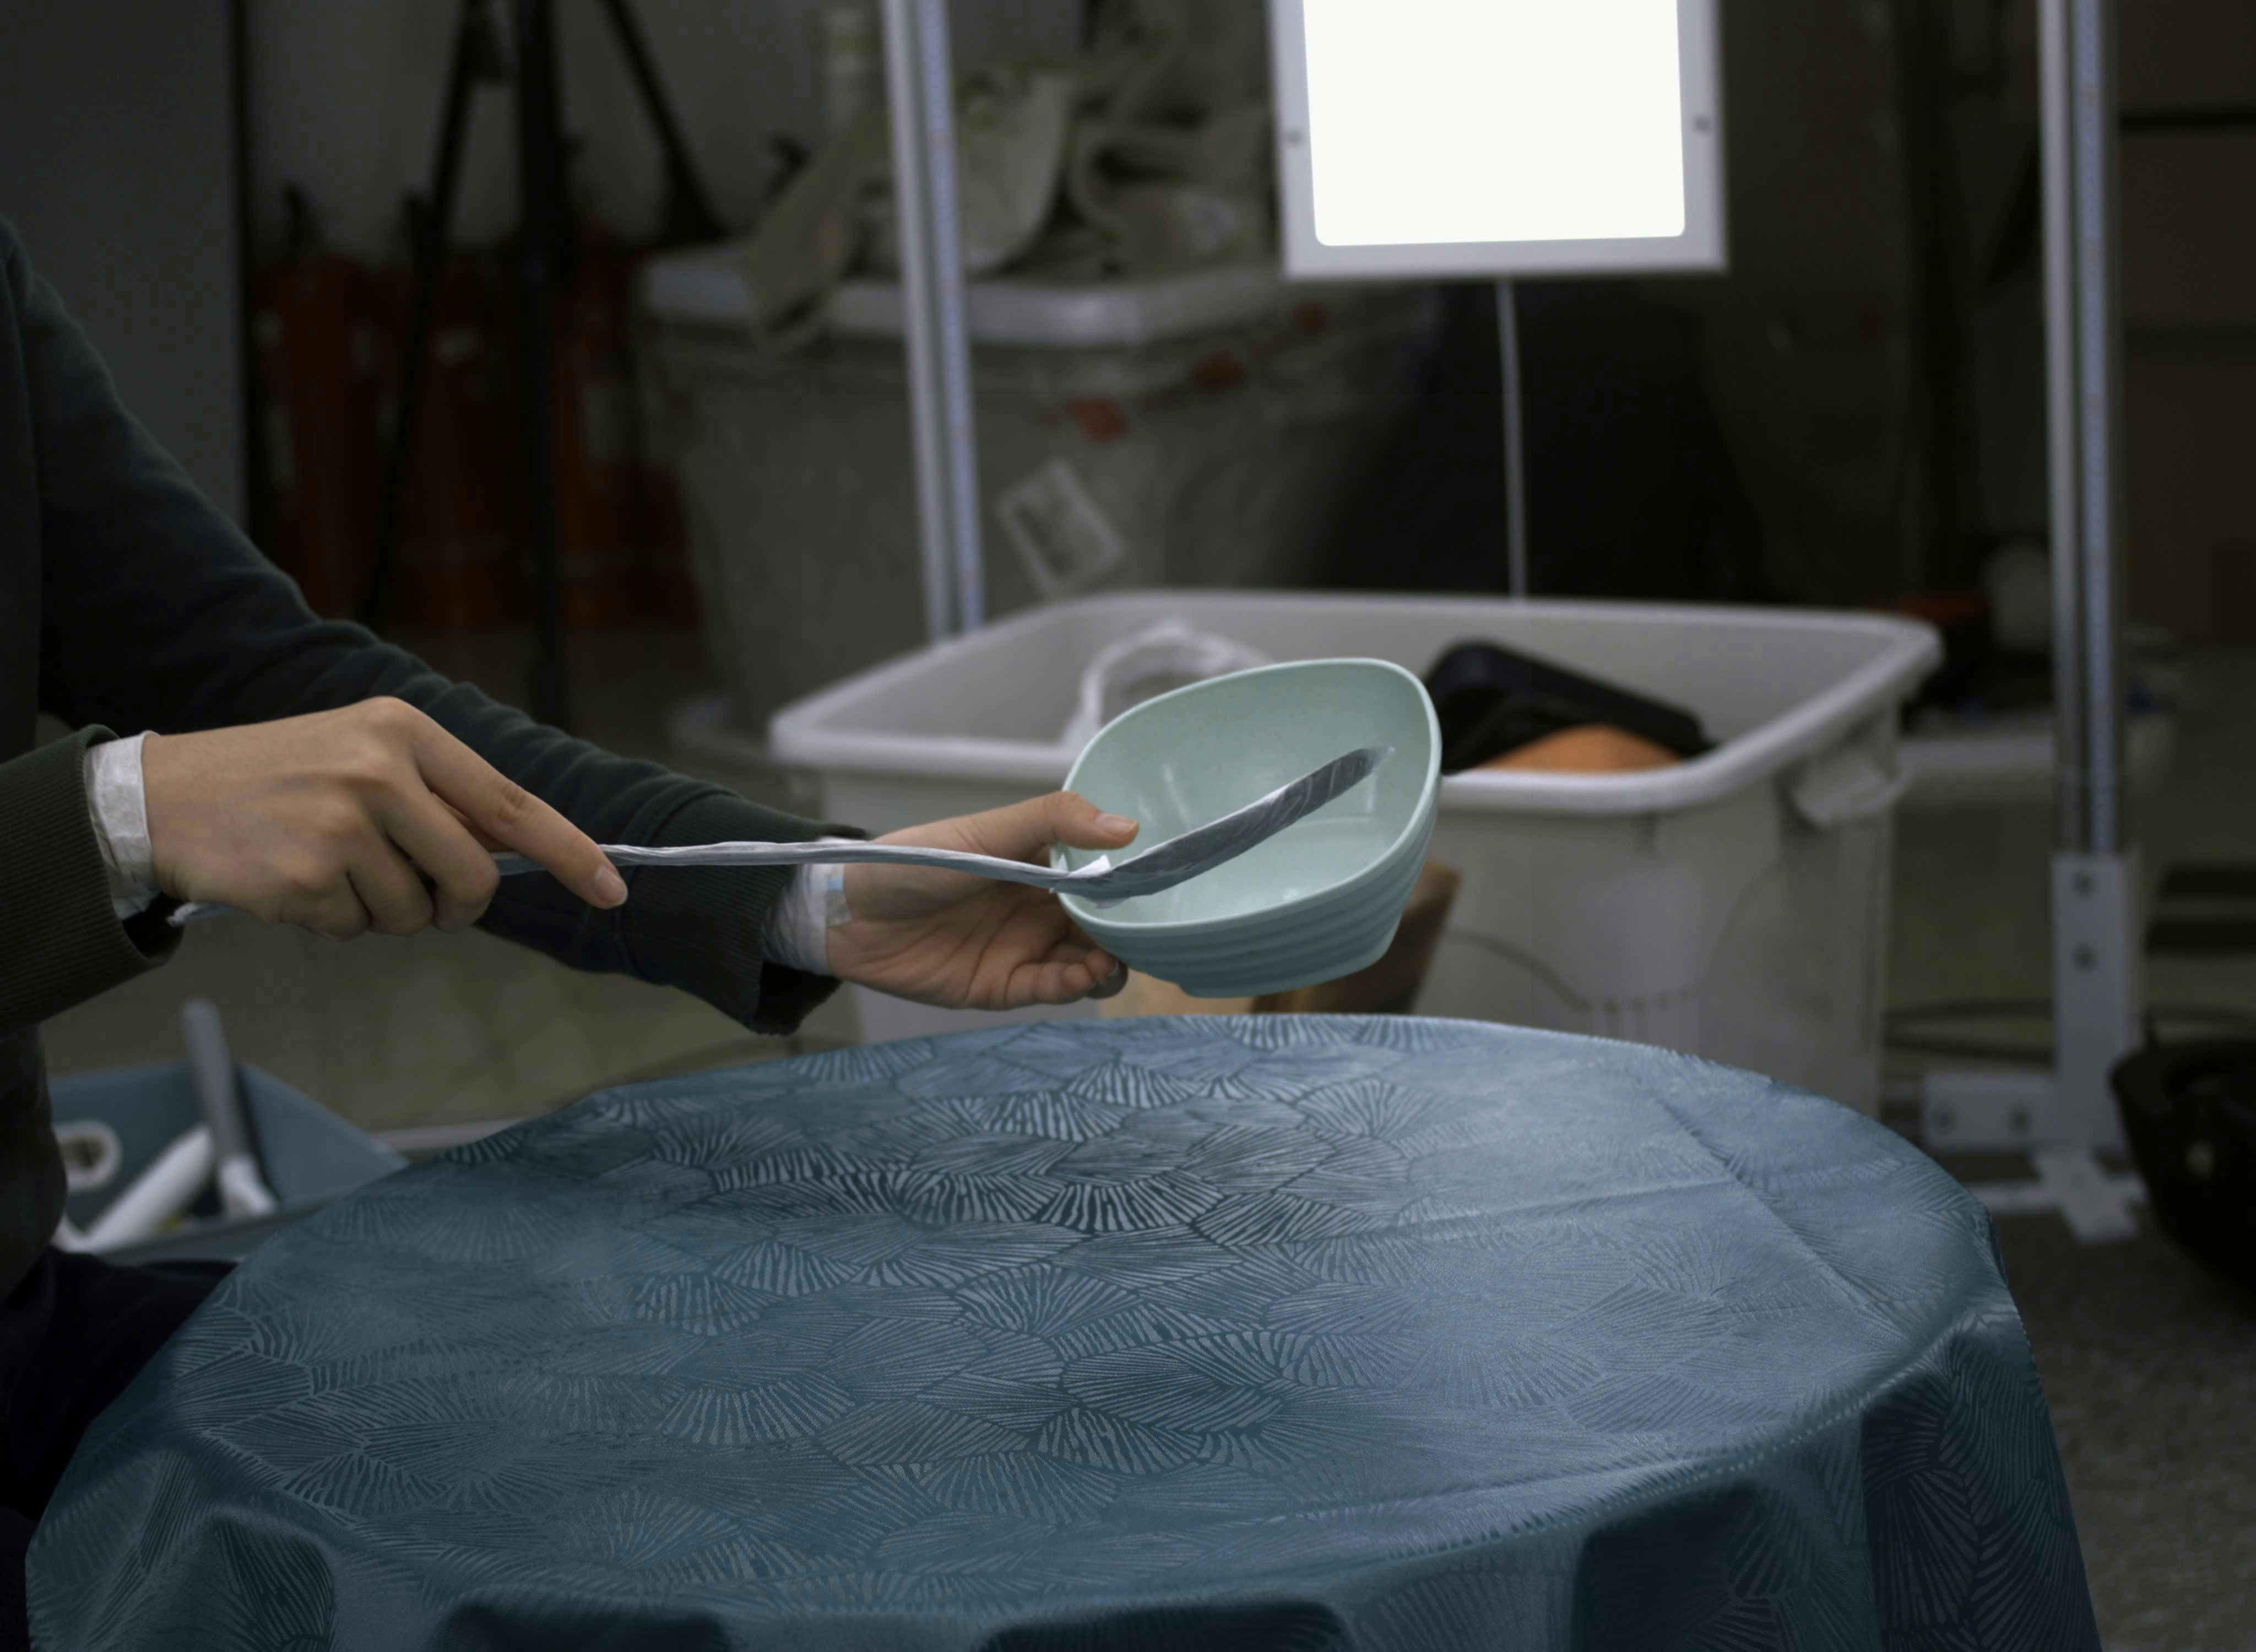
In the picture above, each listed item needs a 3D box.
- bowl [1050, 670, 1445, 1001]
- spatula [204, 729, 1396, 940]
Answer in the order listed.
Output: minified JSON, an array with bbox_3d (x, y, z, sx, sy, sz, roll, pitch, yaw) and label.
[{"bbox_3d":[0.048,0.011,1.890,0.152,0.058,0.151,-15,33,9],"label":"bowl"},{"bbox_3d":[-0.096,0.004,1.659,0.360,0.045,0.099,-2,-8,-11],"label":"spatula"}]
